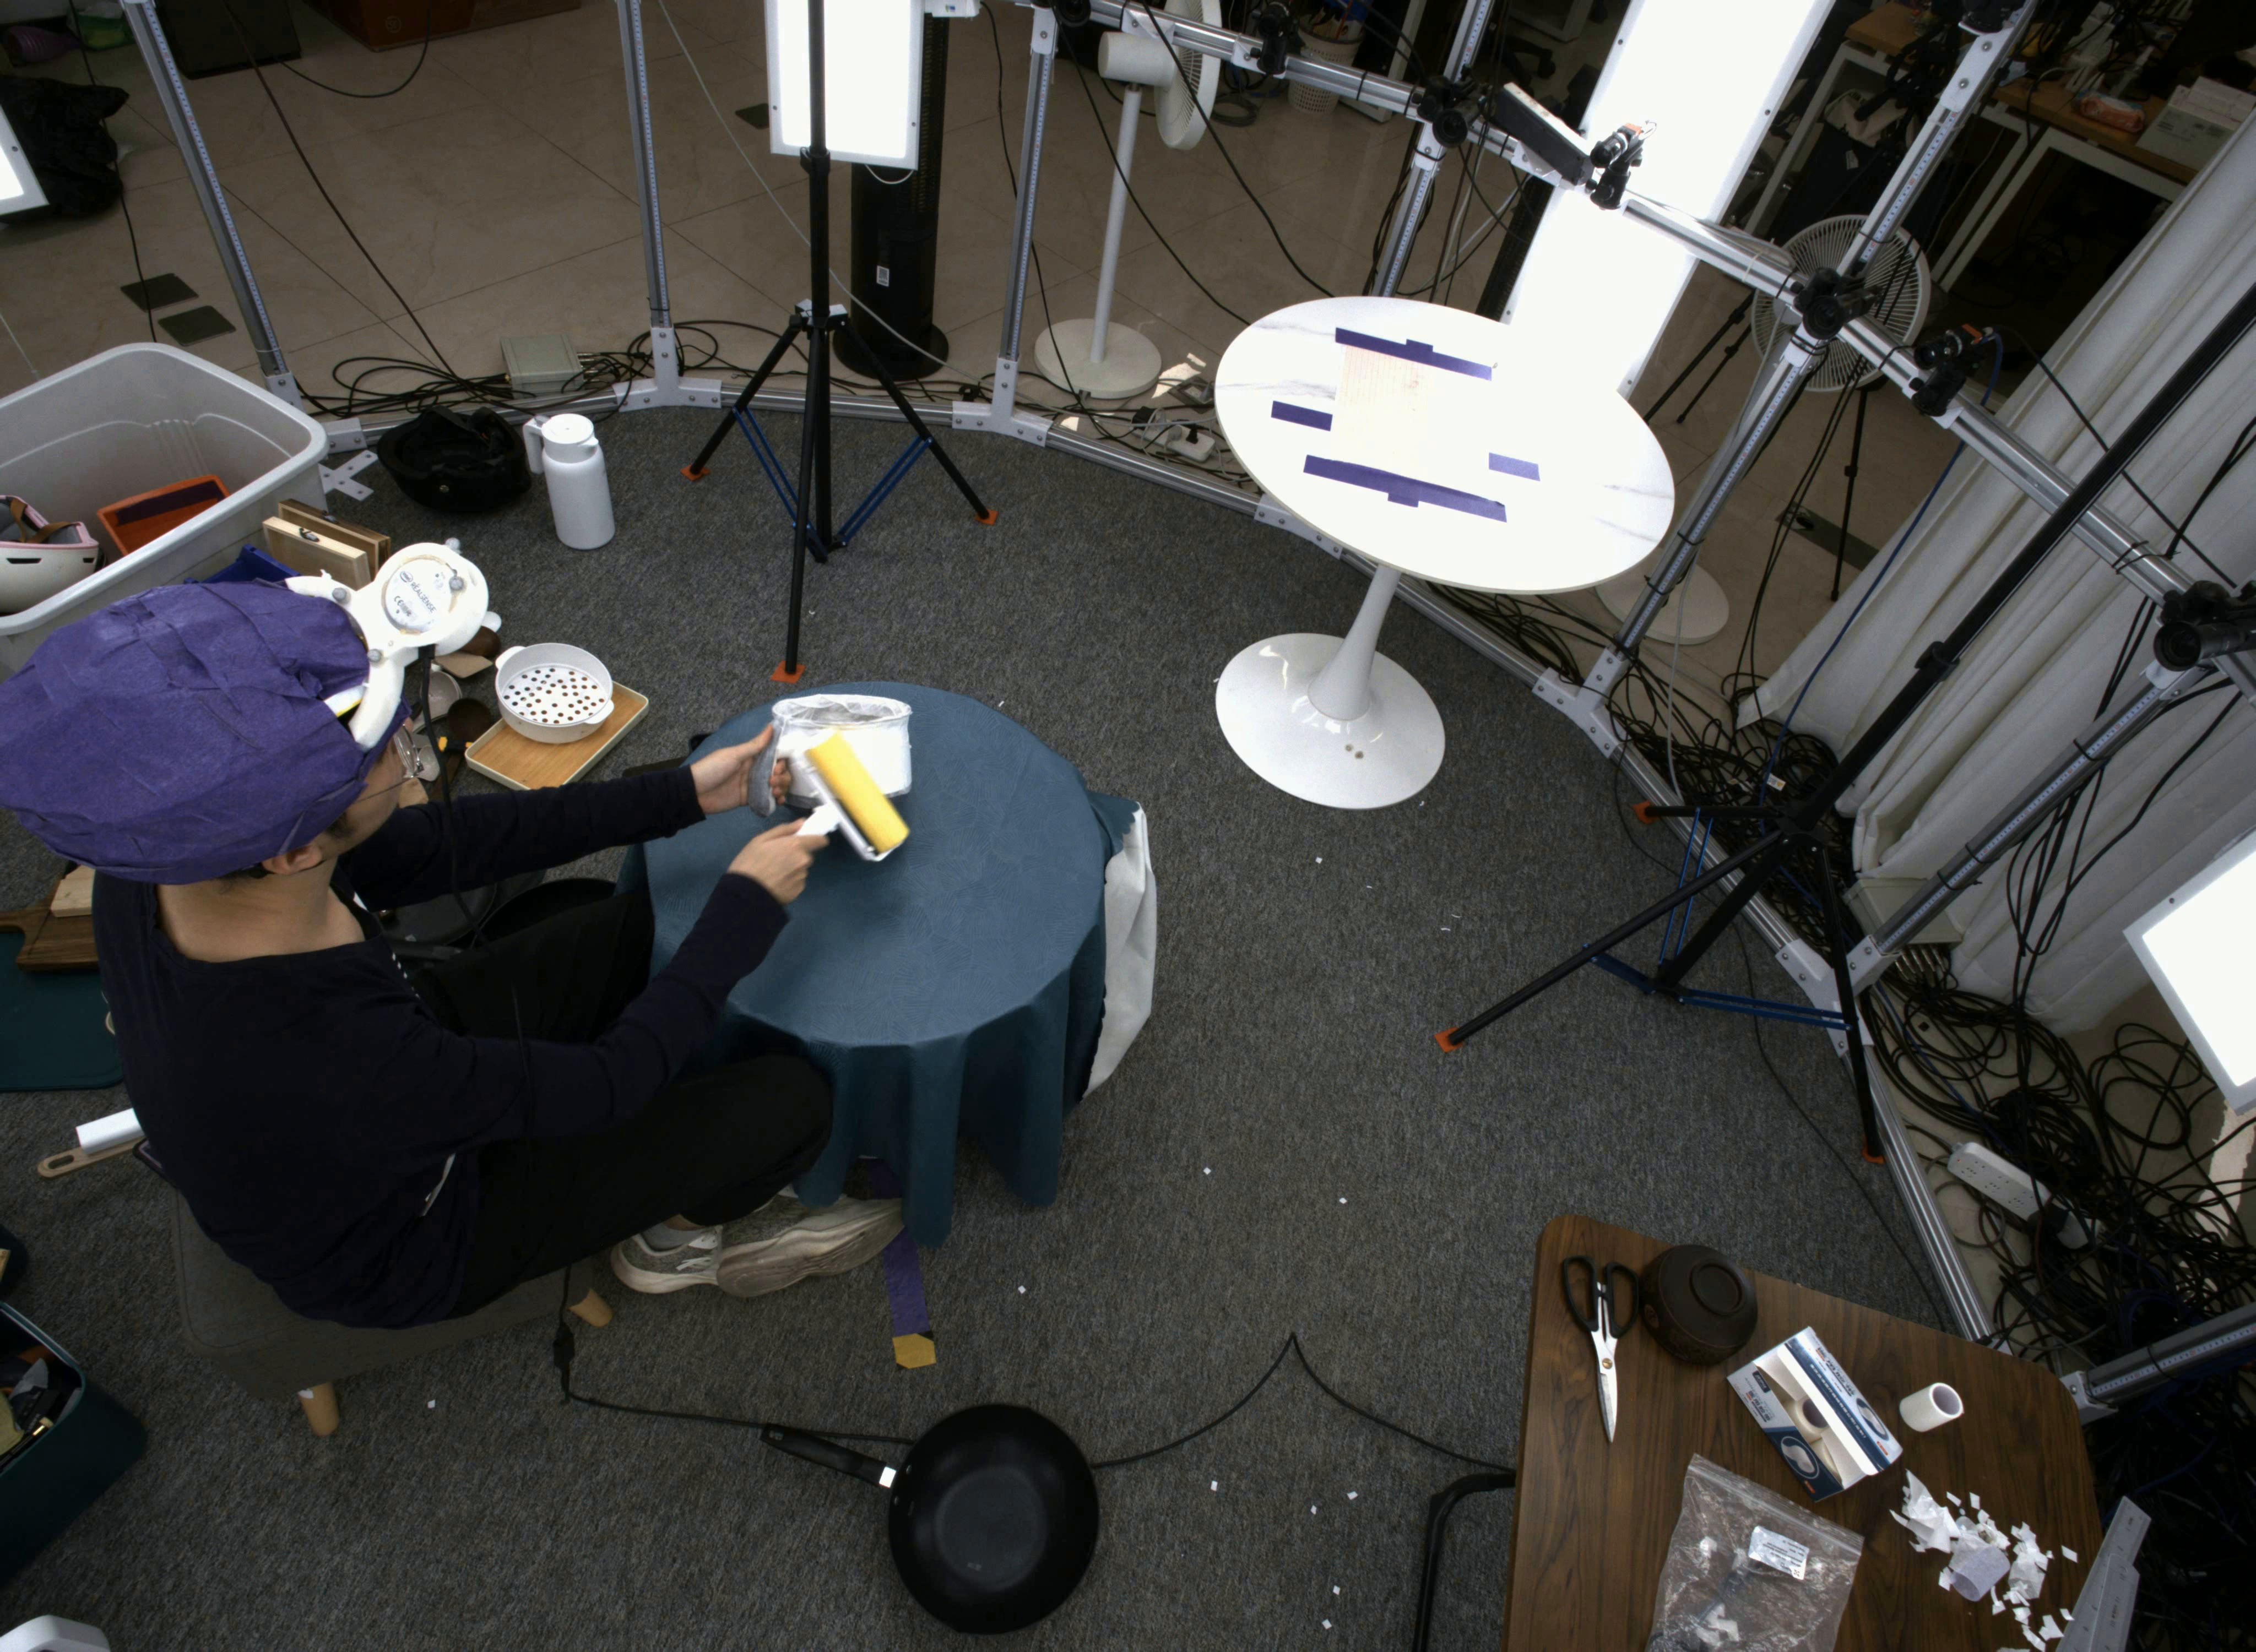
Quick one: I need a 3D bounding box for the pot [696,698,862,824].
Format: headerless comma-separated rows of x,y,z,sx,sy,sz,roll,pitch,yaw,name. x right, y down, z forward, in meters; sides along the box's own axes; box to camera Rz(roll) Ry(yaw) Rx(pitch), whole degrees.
-0.449,-0.082,1.648,0.172,0.140,0.236,10,17,31,pot

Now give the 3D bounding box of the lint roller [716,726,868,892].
-0.418,0.004,1.546,0.050,0.180,0.191,-6,39,40,lint roller
